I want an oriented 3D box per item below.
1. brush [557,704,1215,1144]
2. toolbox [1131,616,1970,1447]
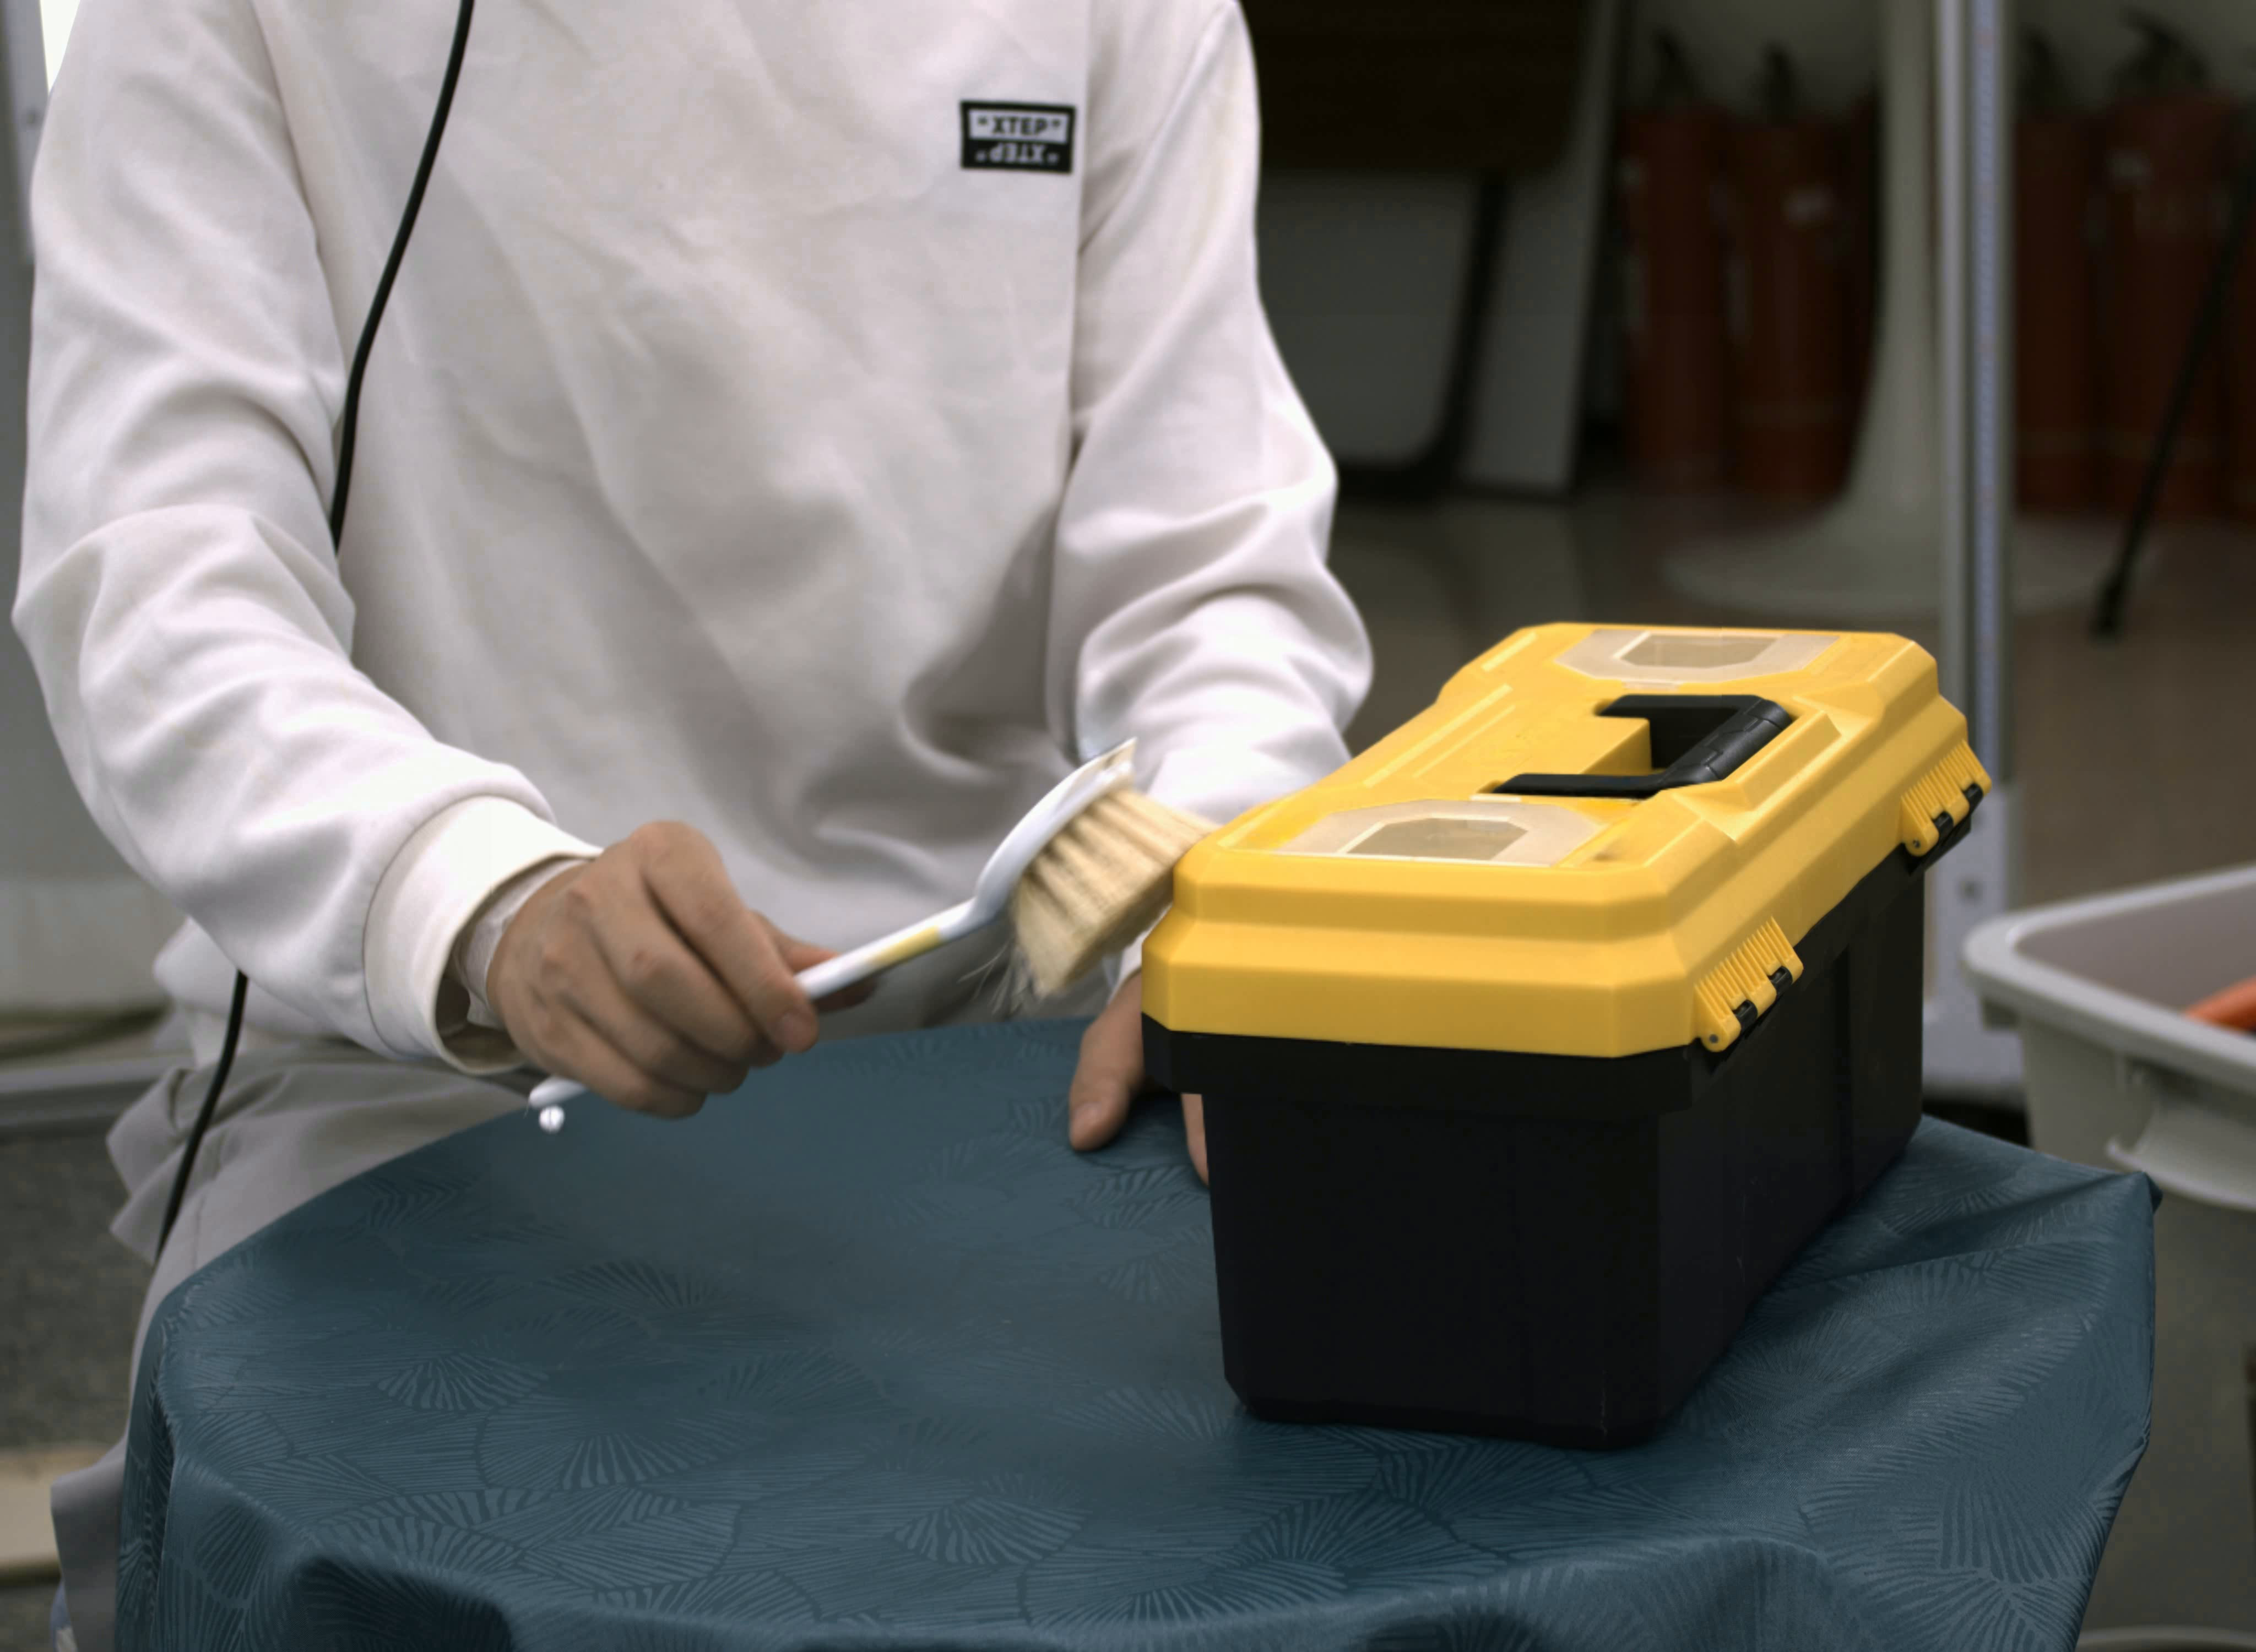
[{"bbox_3d":[-0.075,0.051,1.614,0.269,0.057,0.067,-37,-19,34],"label":"brush"},{"bbox_3d":[0.139,0.053,1.646,0.181,0.175,0.347,3,14,23],"label":"toolbox"}]
